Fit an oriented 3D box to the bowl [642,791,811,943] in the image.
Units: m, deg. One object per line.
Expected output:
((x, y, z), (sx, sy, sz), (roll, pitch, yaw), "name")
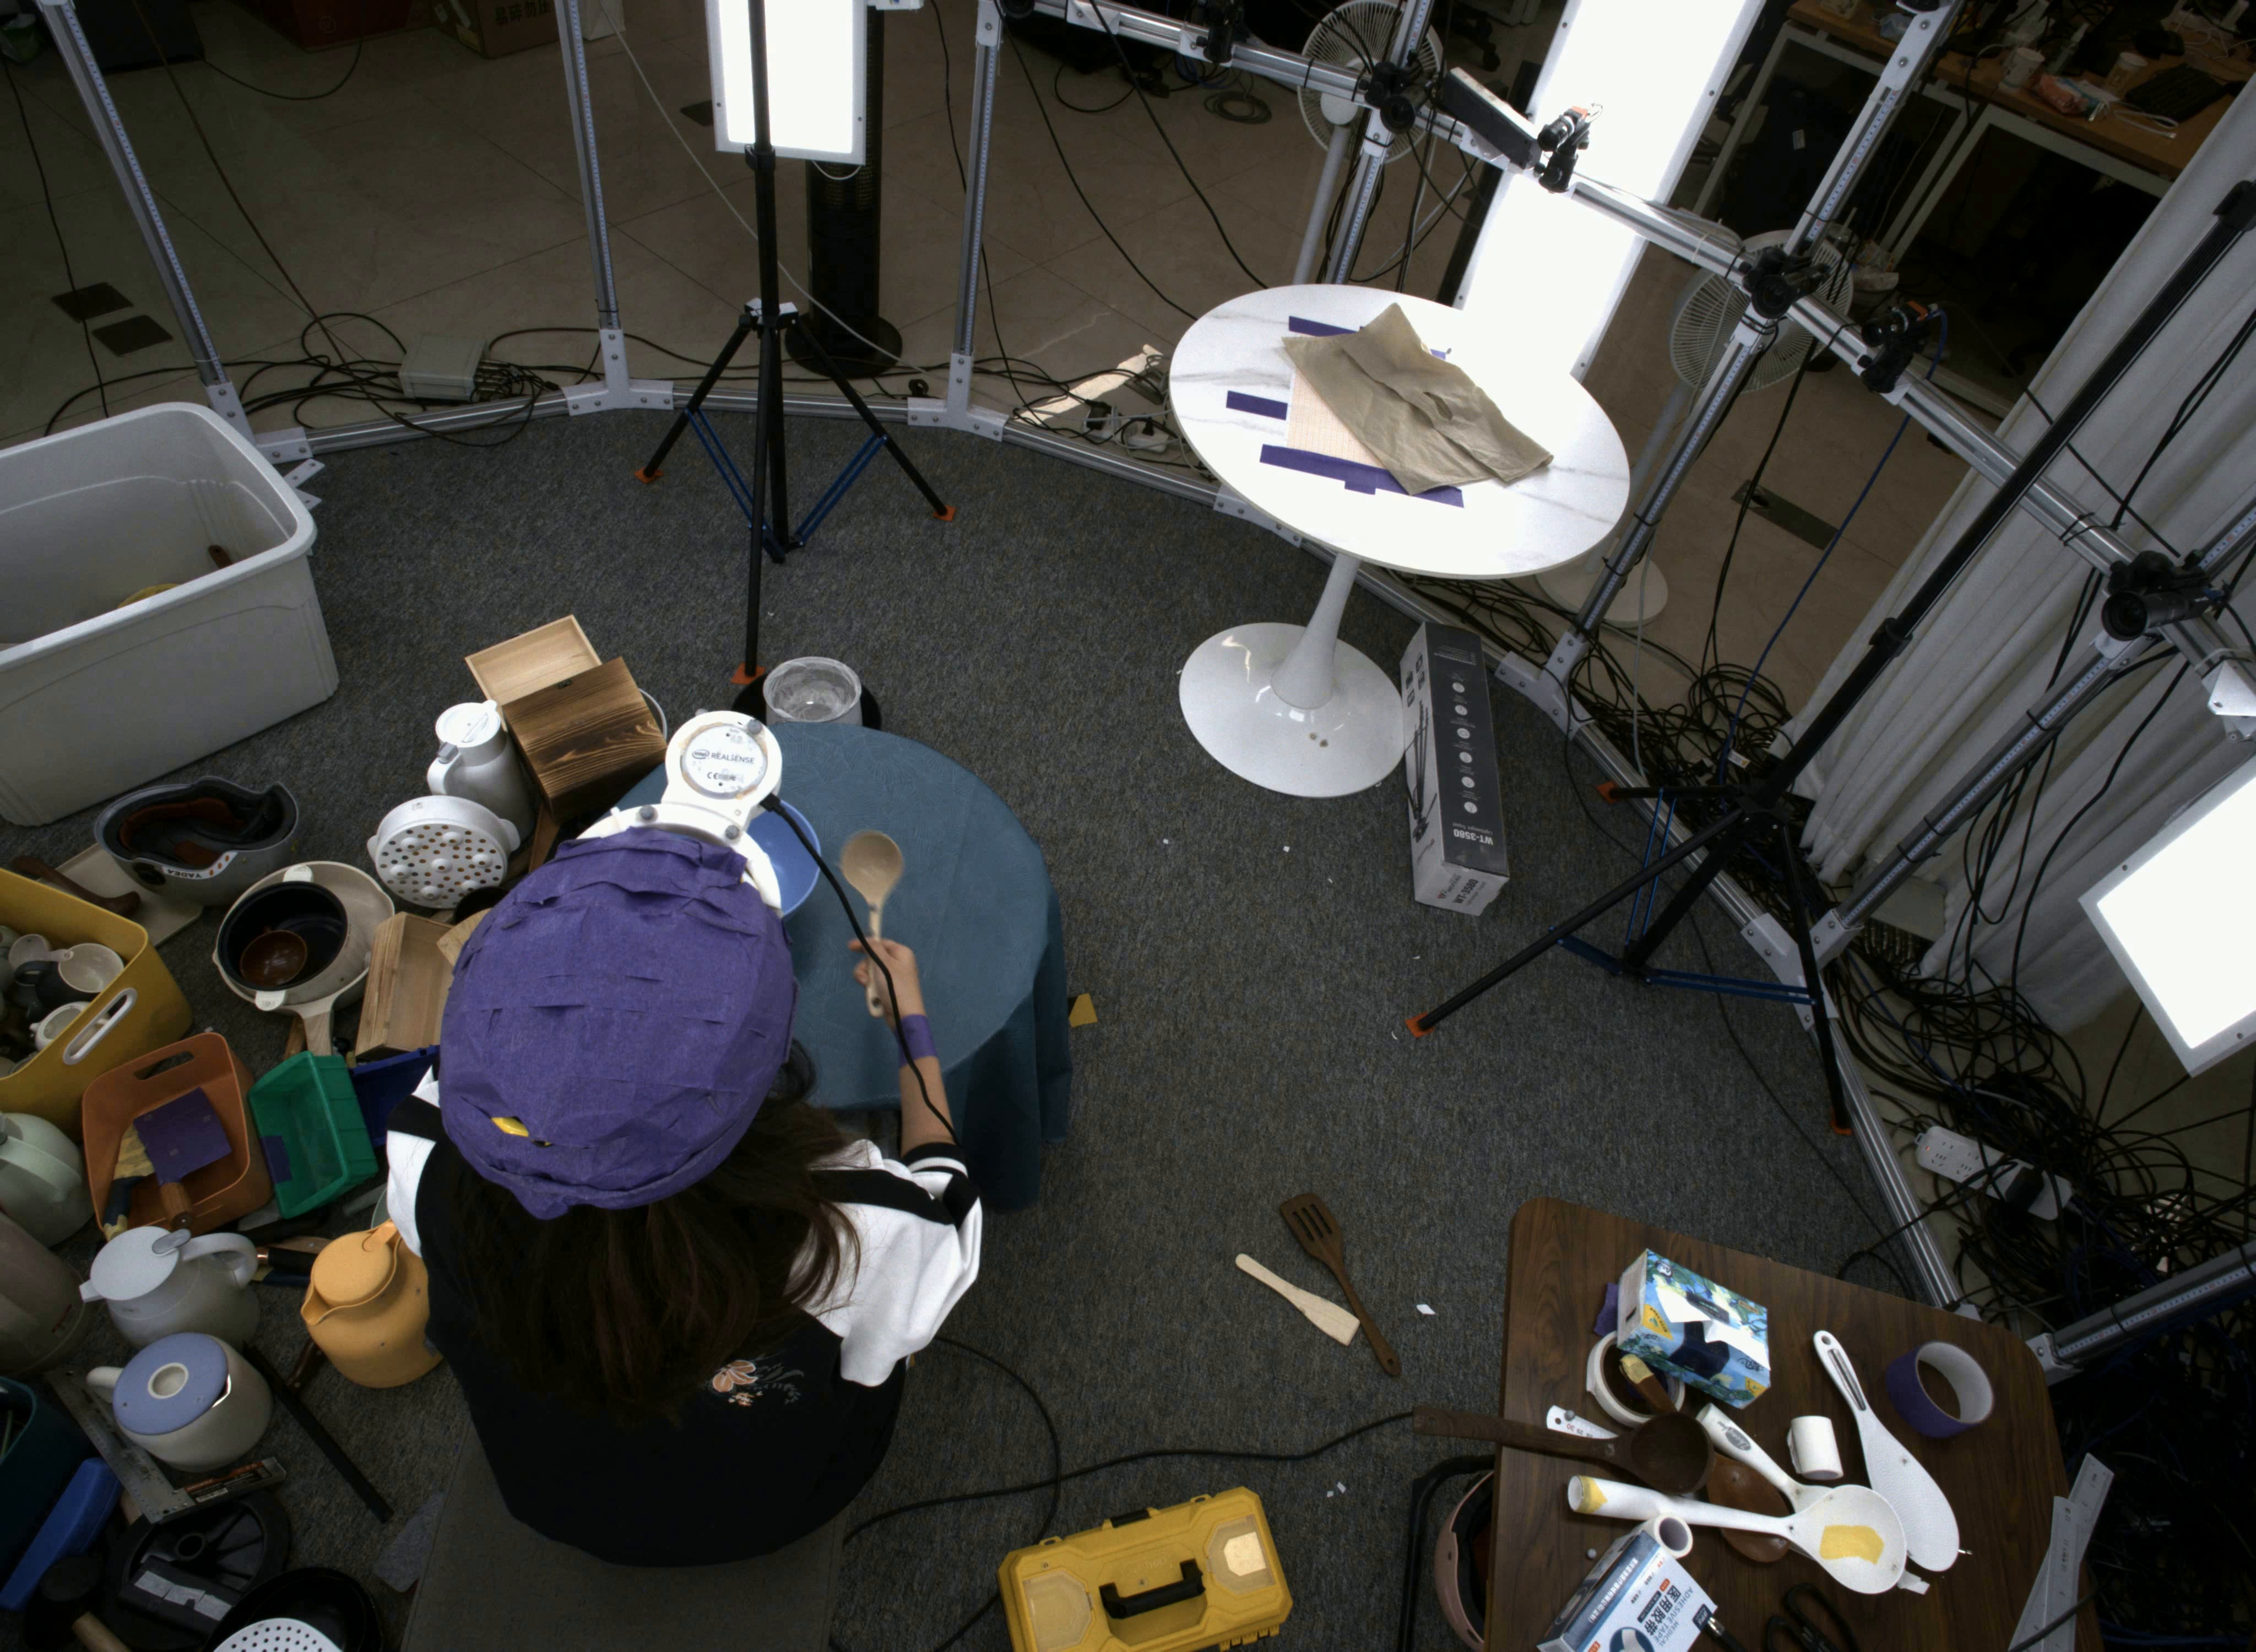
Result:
((-0.488, 0.063, 1.569), (0.197, 0.096, 0.193), (11, 54, -14), "bowl")

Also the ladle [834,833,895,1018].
((-0.297, 0.103, 1.482), (0.072, 0.075, 0.247), (-7, 38, -9), "ladle")
